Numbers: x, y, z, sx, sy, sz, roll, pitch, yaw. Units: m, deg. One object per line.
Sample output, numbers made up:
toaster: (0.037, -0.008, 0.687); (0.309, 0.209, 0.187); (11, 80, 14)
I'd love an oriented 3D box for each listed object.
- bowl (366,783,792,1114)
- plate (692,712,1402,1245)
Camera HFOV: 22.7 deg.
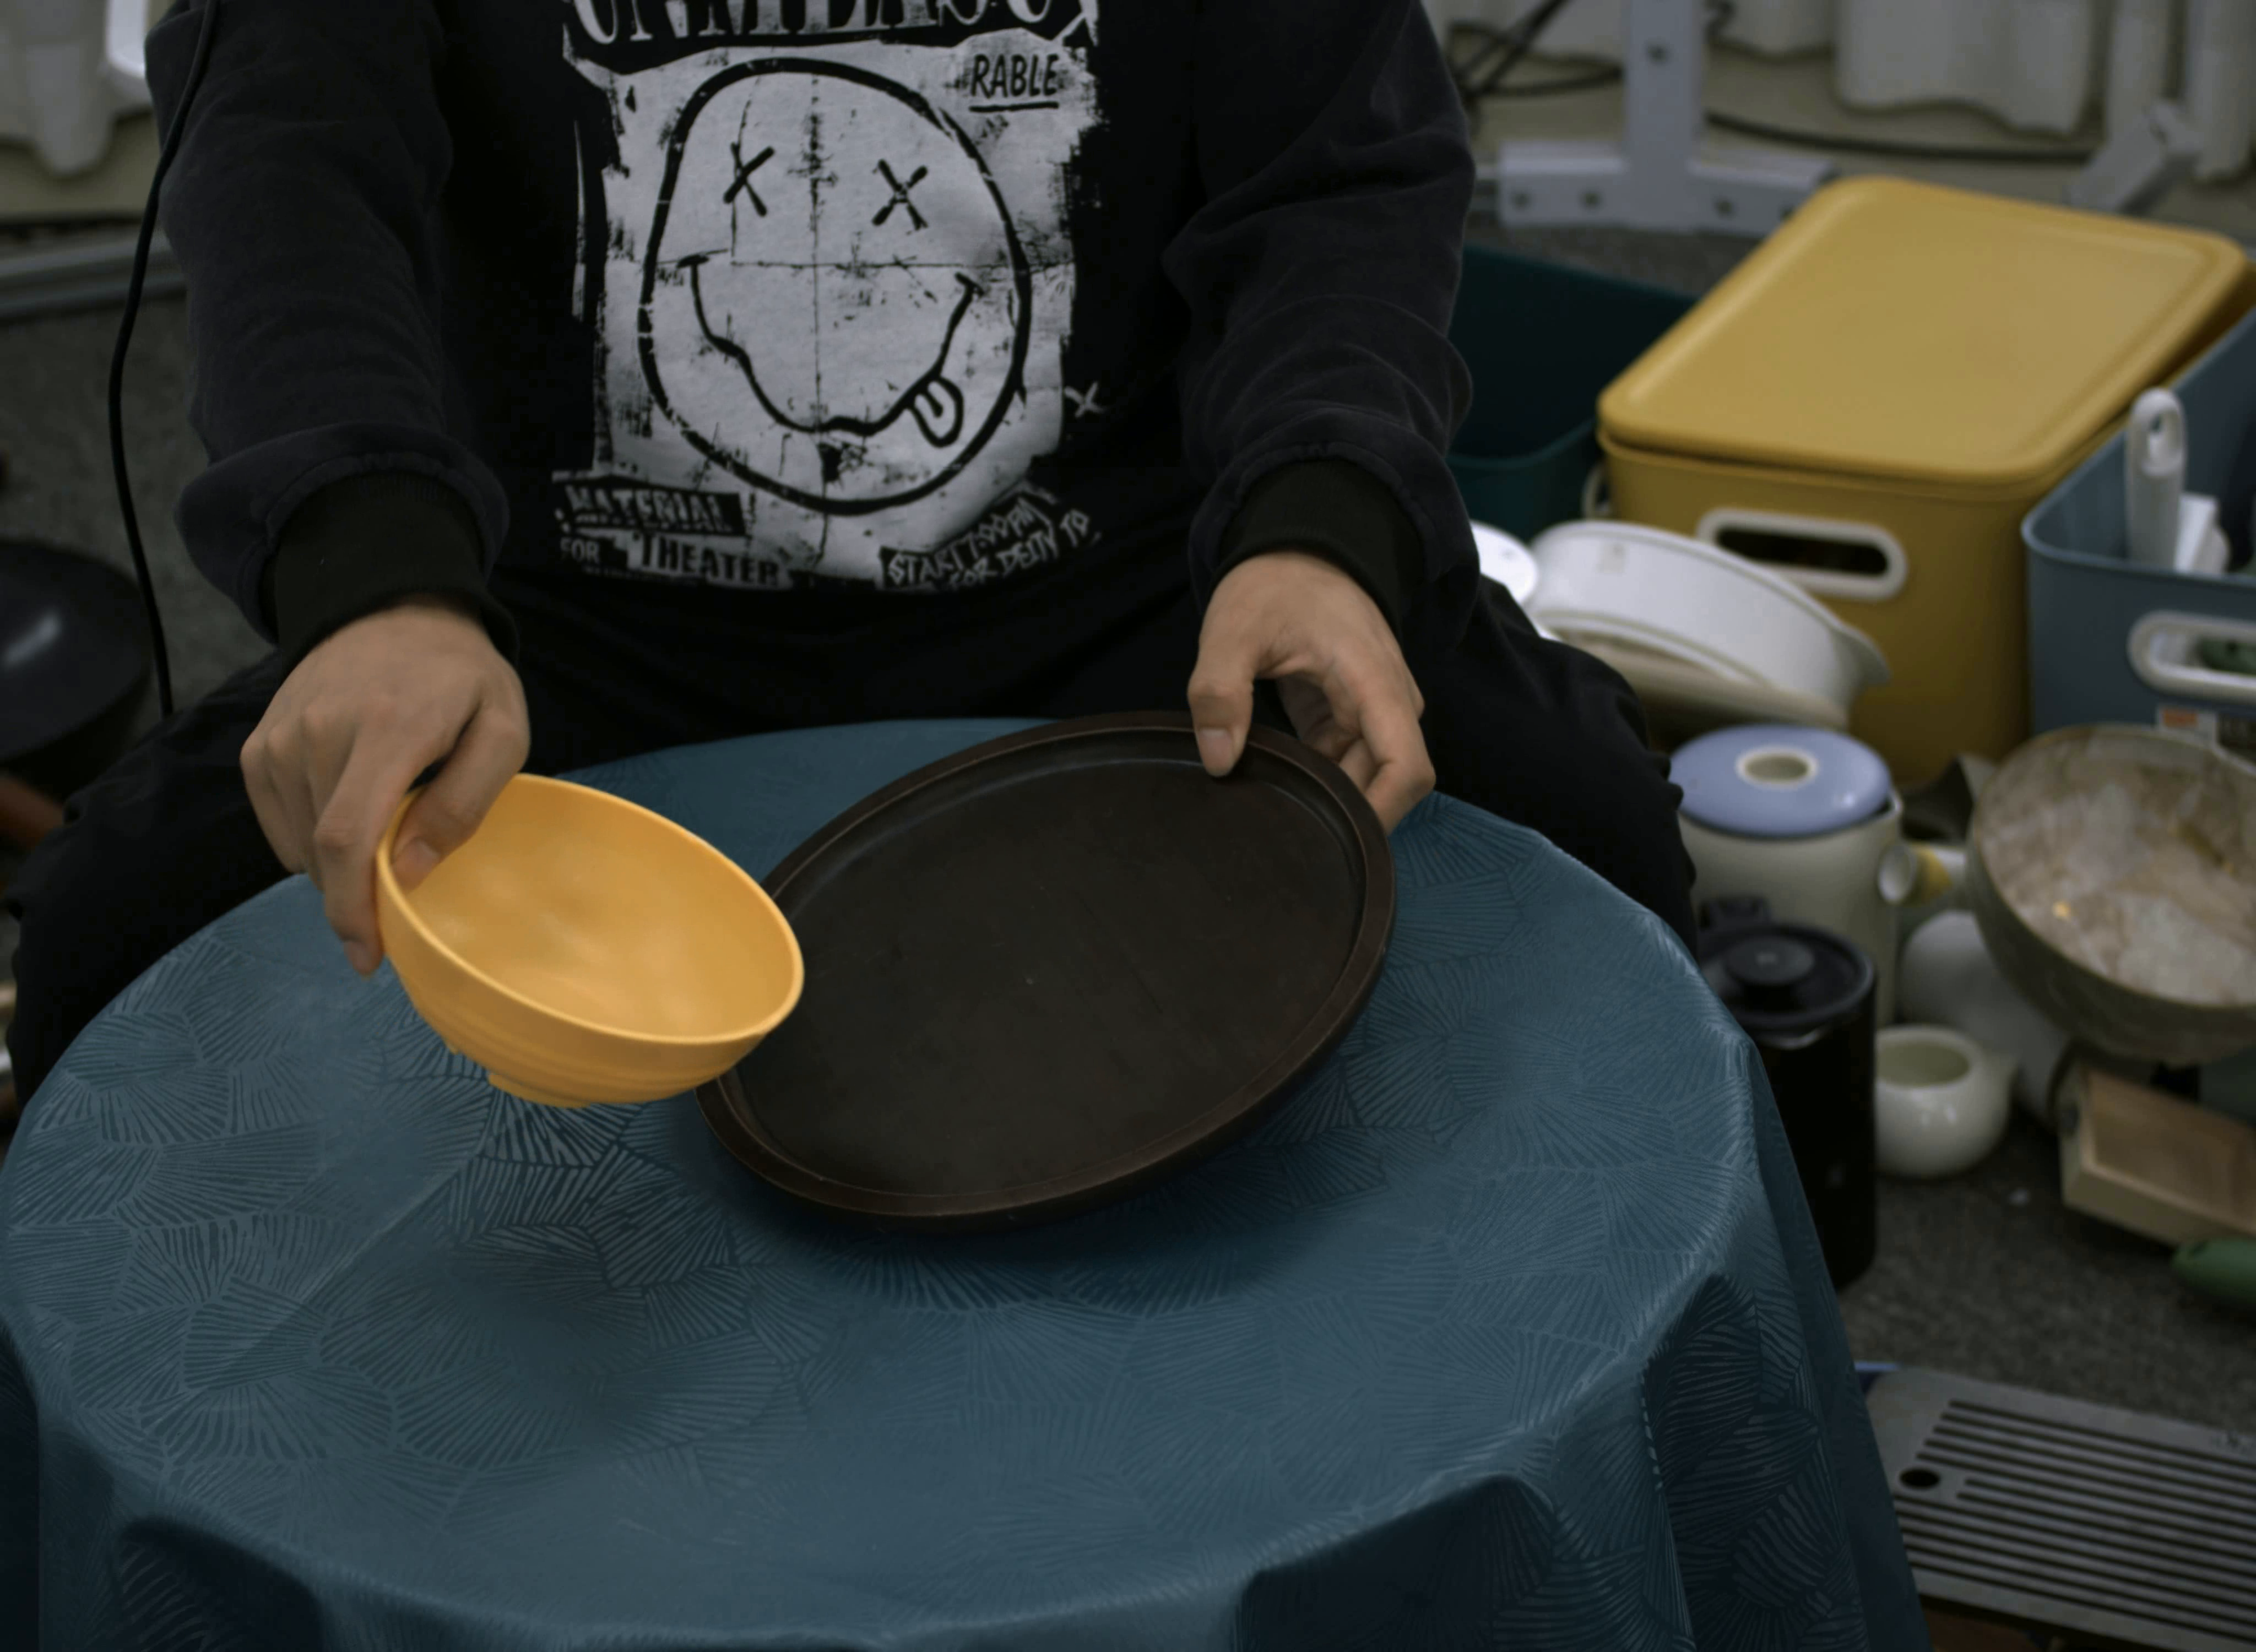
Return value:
bowl: (-0.185, 0.050, 1.808); (0.145, 0.059, 0.147); (20, 23, -8)
plate: (-0.027, 0.051, 1.908); (0.253, 0.029, 0.259); (-14, 36, 10)
